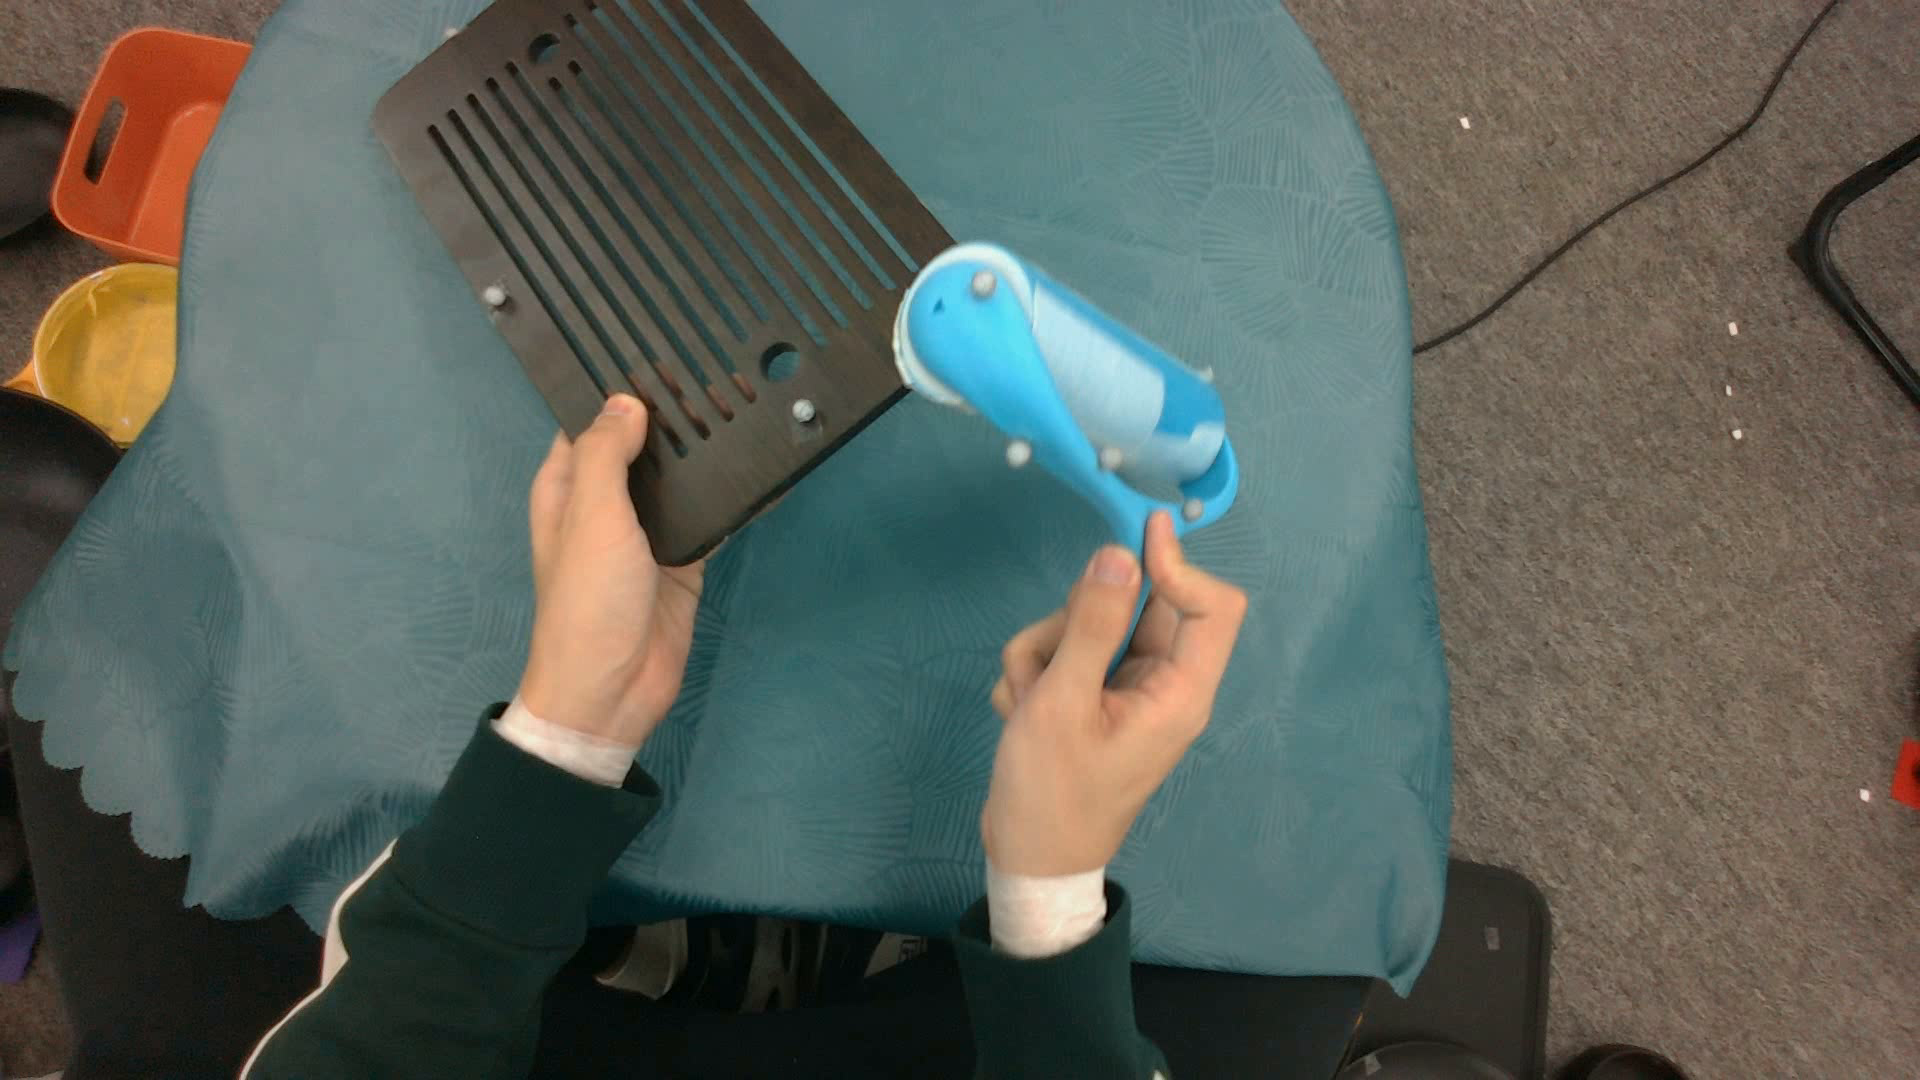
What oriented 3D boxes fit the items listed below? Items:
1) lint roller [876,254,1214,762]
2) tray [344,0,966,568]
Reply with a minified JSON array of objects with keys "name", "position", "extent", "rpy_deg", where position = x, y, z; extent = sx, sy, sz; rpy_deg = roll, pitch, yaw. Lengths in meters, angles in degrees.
[{"name":"lint roller","position":[0.041,-0.003,0.541],"extent":[0.068,0.229,0.180],"rpy_deg":[-3,86,27]},{"name":"tray","position":[-0.139,-0.142,0.588],"extent":[0.170,0.018,0.306],"rpy_deg":[-40,65,0]}]
